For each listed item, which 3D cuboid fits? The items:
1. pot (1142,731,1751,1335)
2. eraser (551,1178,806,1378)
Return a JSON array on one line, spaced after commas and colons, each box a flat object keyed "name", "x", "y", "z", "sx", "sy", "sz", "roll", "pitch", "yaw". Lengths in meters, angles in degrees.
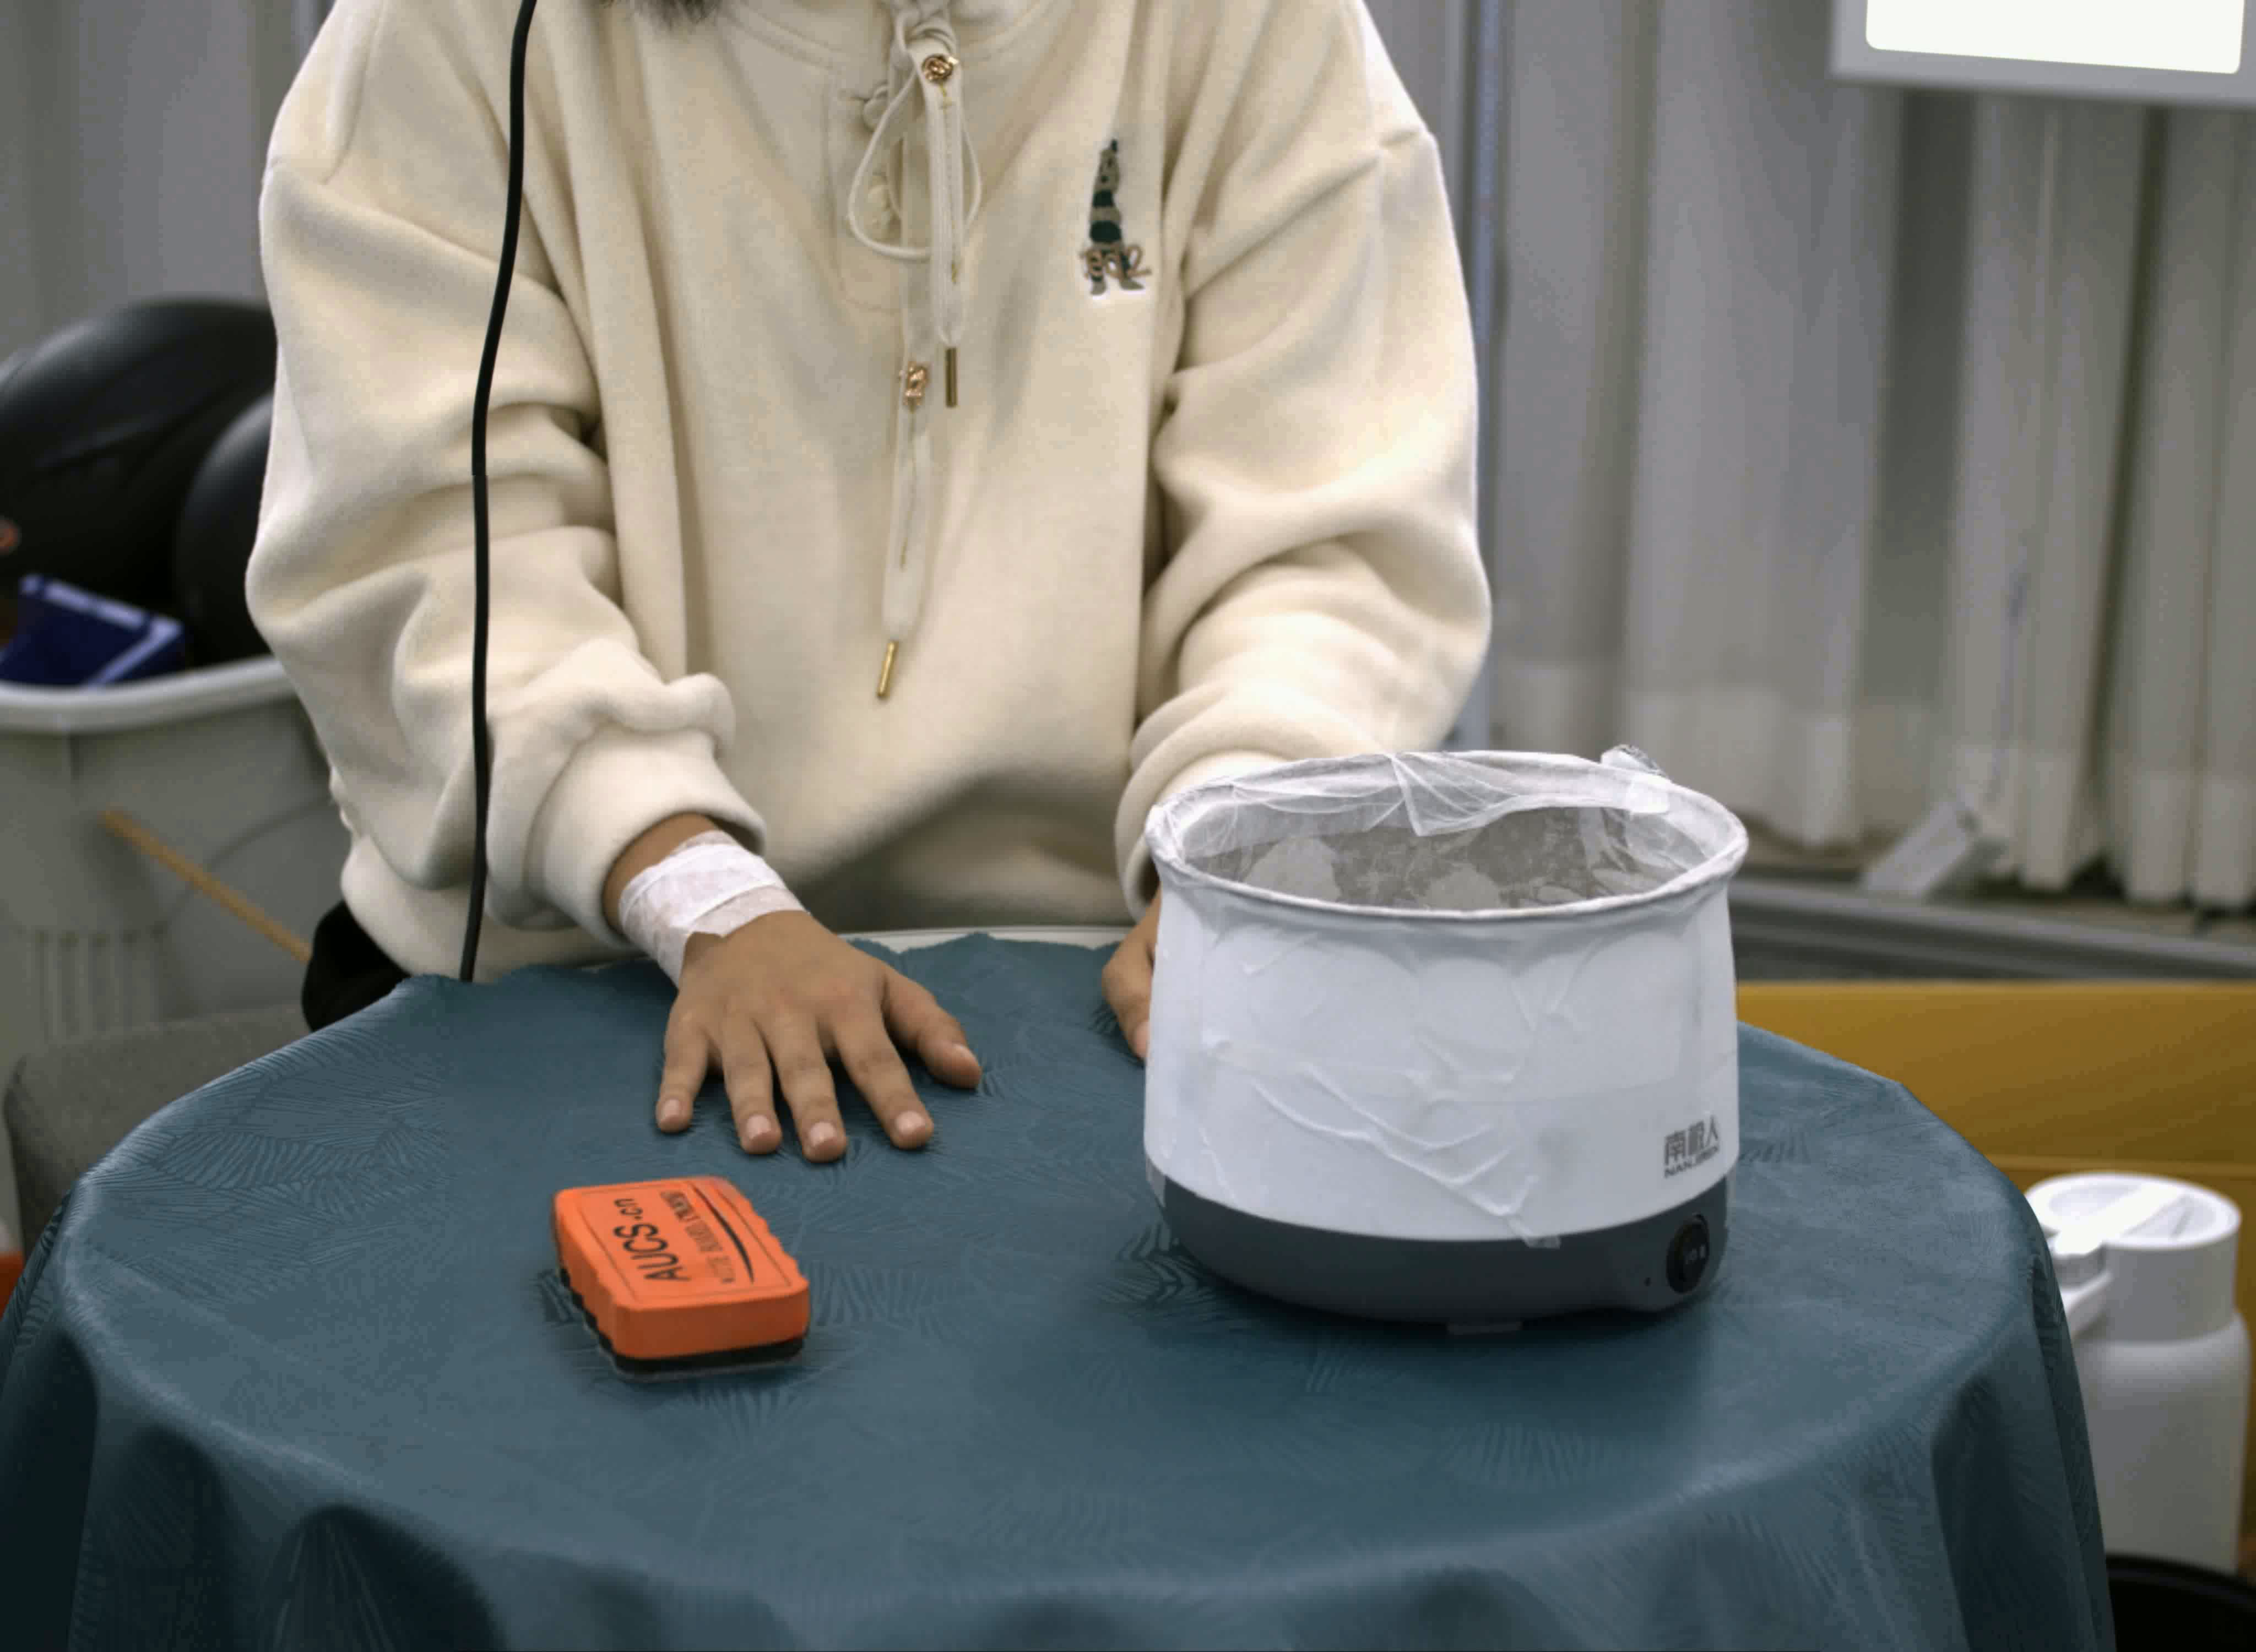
[{"name": "pot", "x": 0.108, "y": 0.053, "z": 1.571, "sx": 0.176, "sy": 0.138, "sz": 0.234, "roll": 13, "pitch": 21, "yaw": 33}, {"name": "eraser", "x": -0.130, "y": 0.129, "z": 1.512, "sx": 0.059, "sy": 0.023, "sz": 0.107, "roll": -1, "pitch": 15, "yaw": -17}]
